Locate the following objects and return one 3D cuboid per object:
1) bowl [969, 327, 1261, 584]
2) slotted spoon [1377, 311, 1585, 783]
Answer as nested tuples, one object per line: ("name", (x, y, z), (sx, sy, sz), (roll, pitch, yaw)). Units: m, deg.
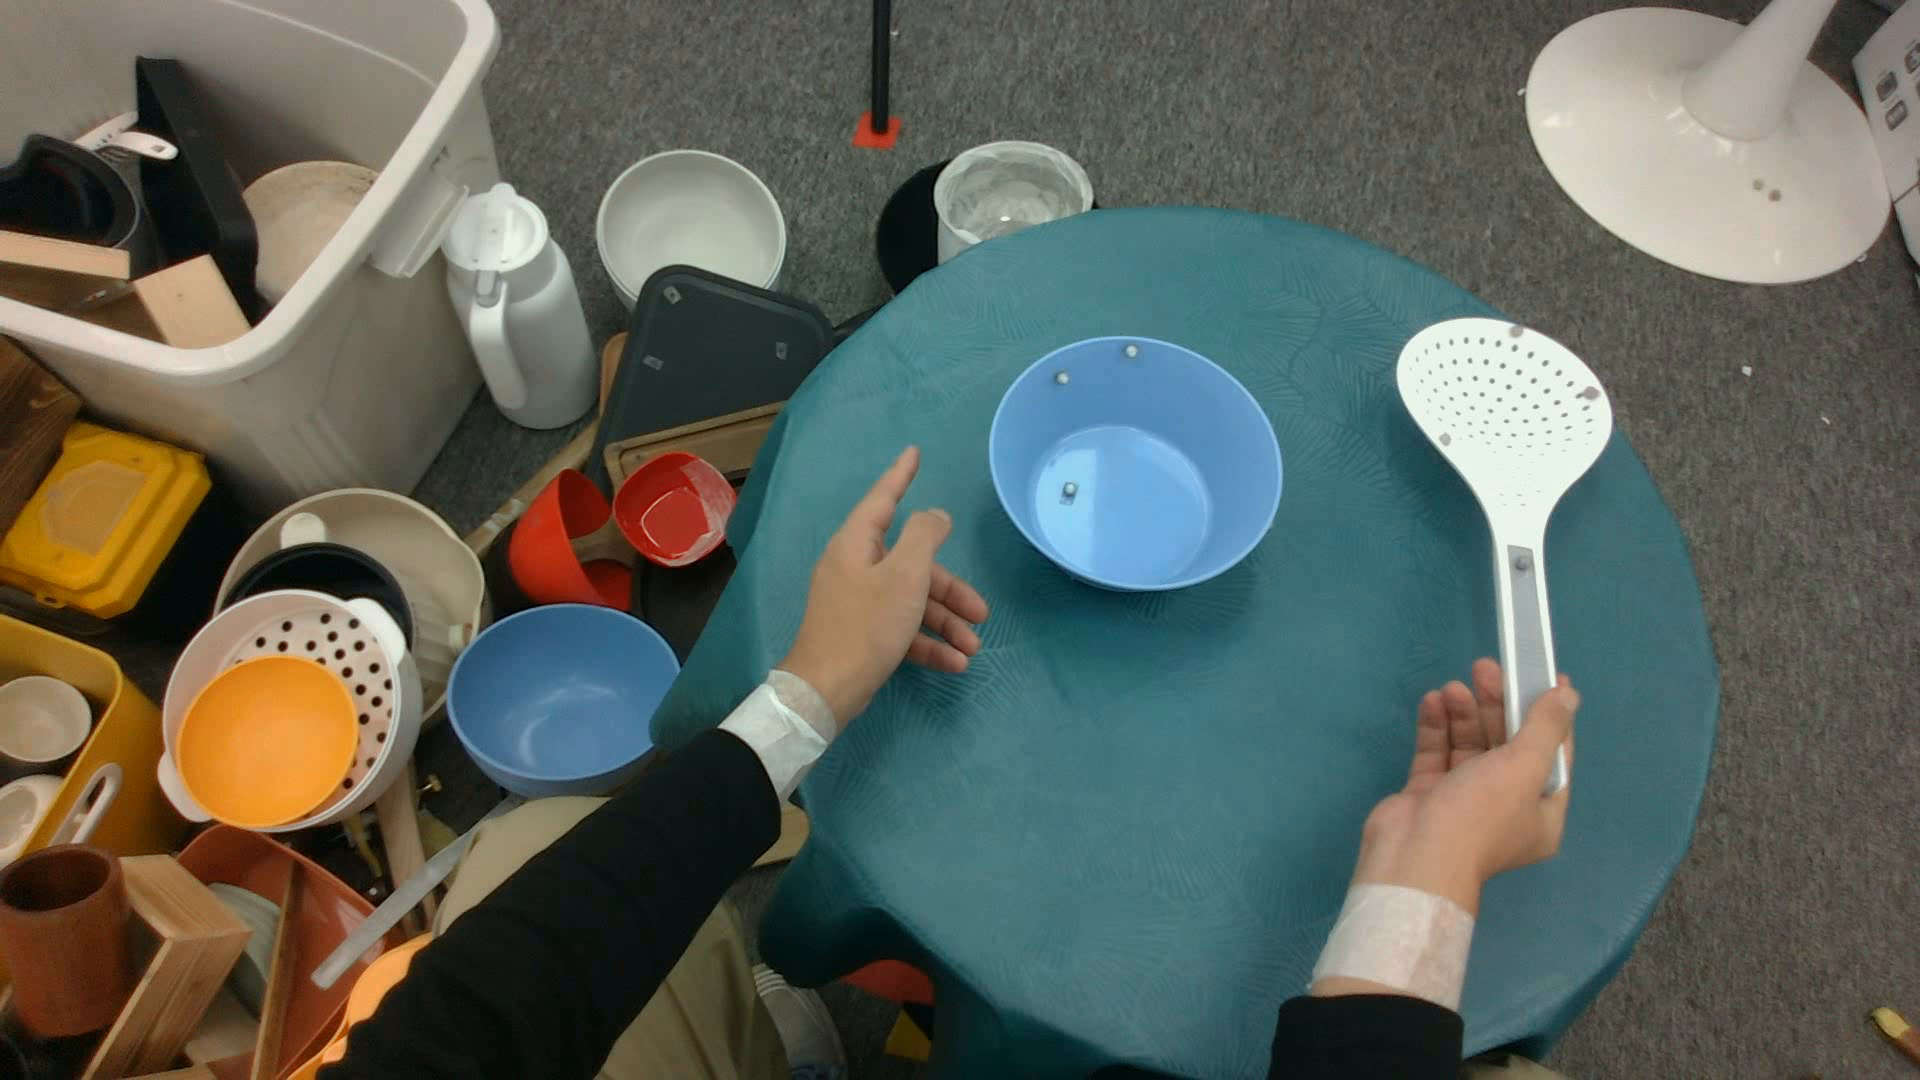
("bowl", (0.090, -0.040, 0.845), (0.176, 0.070, 0.176), (2, 63, -4))
("slotted spoon", (0.319, -0.011, 0.835), (0.136, 0.045, 0.351), (11, 49, 2))
